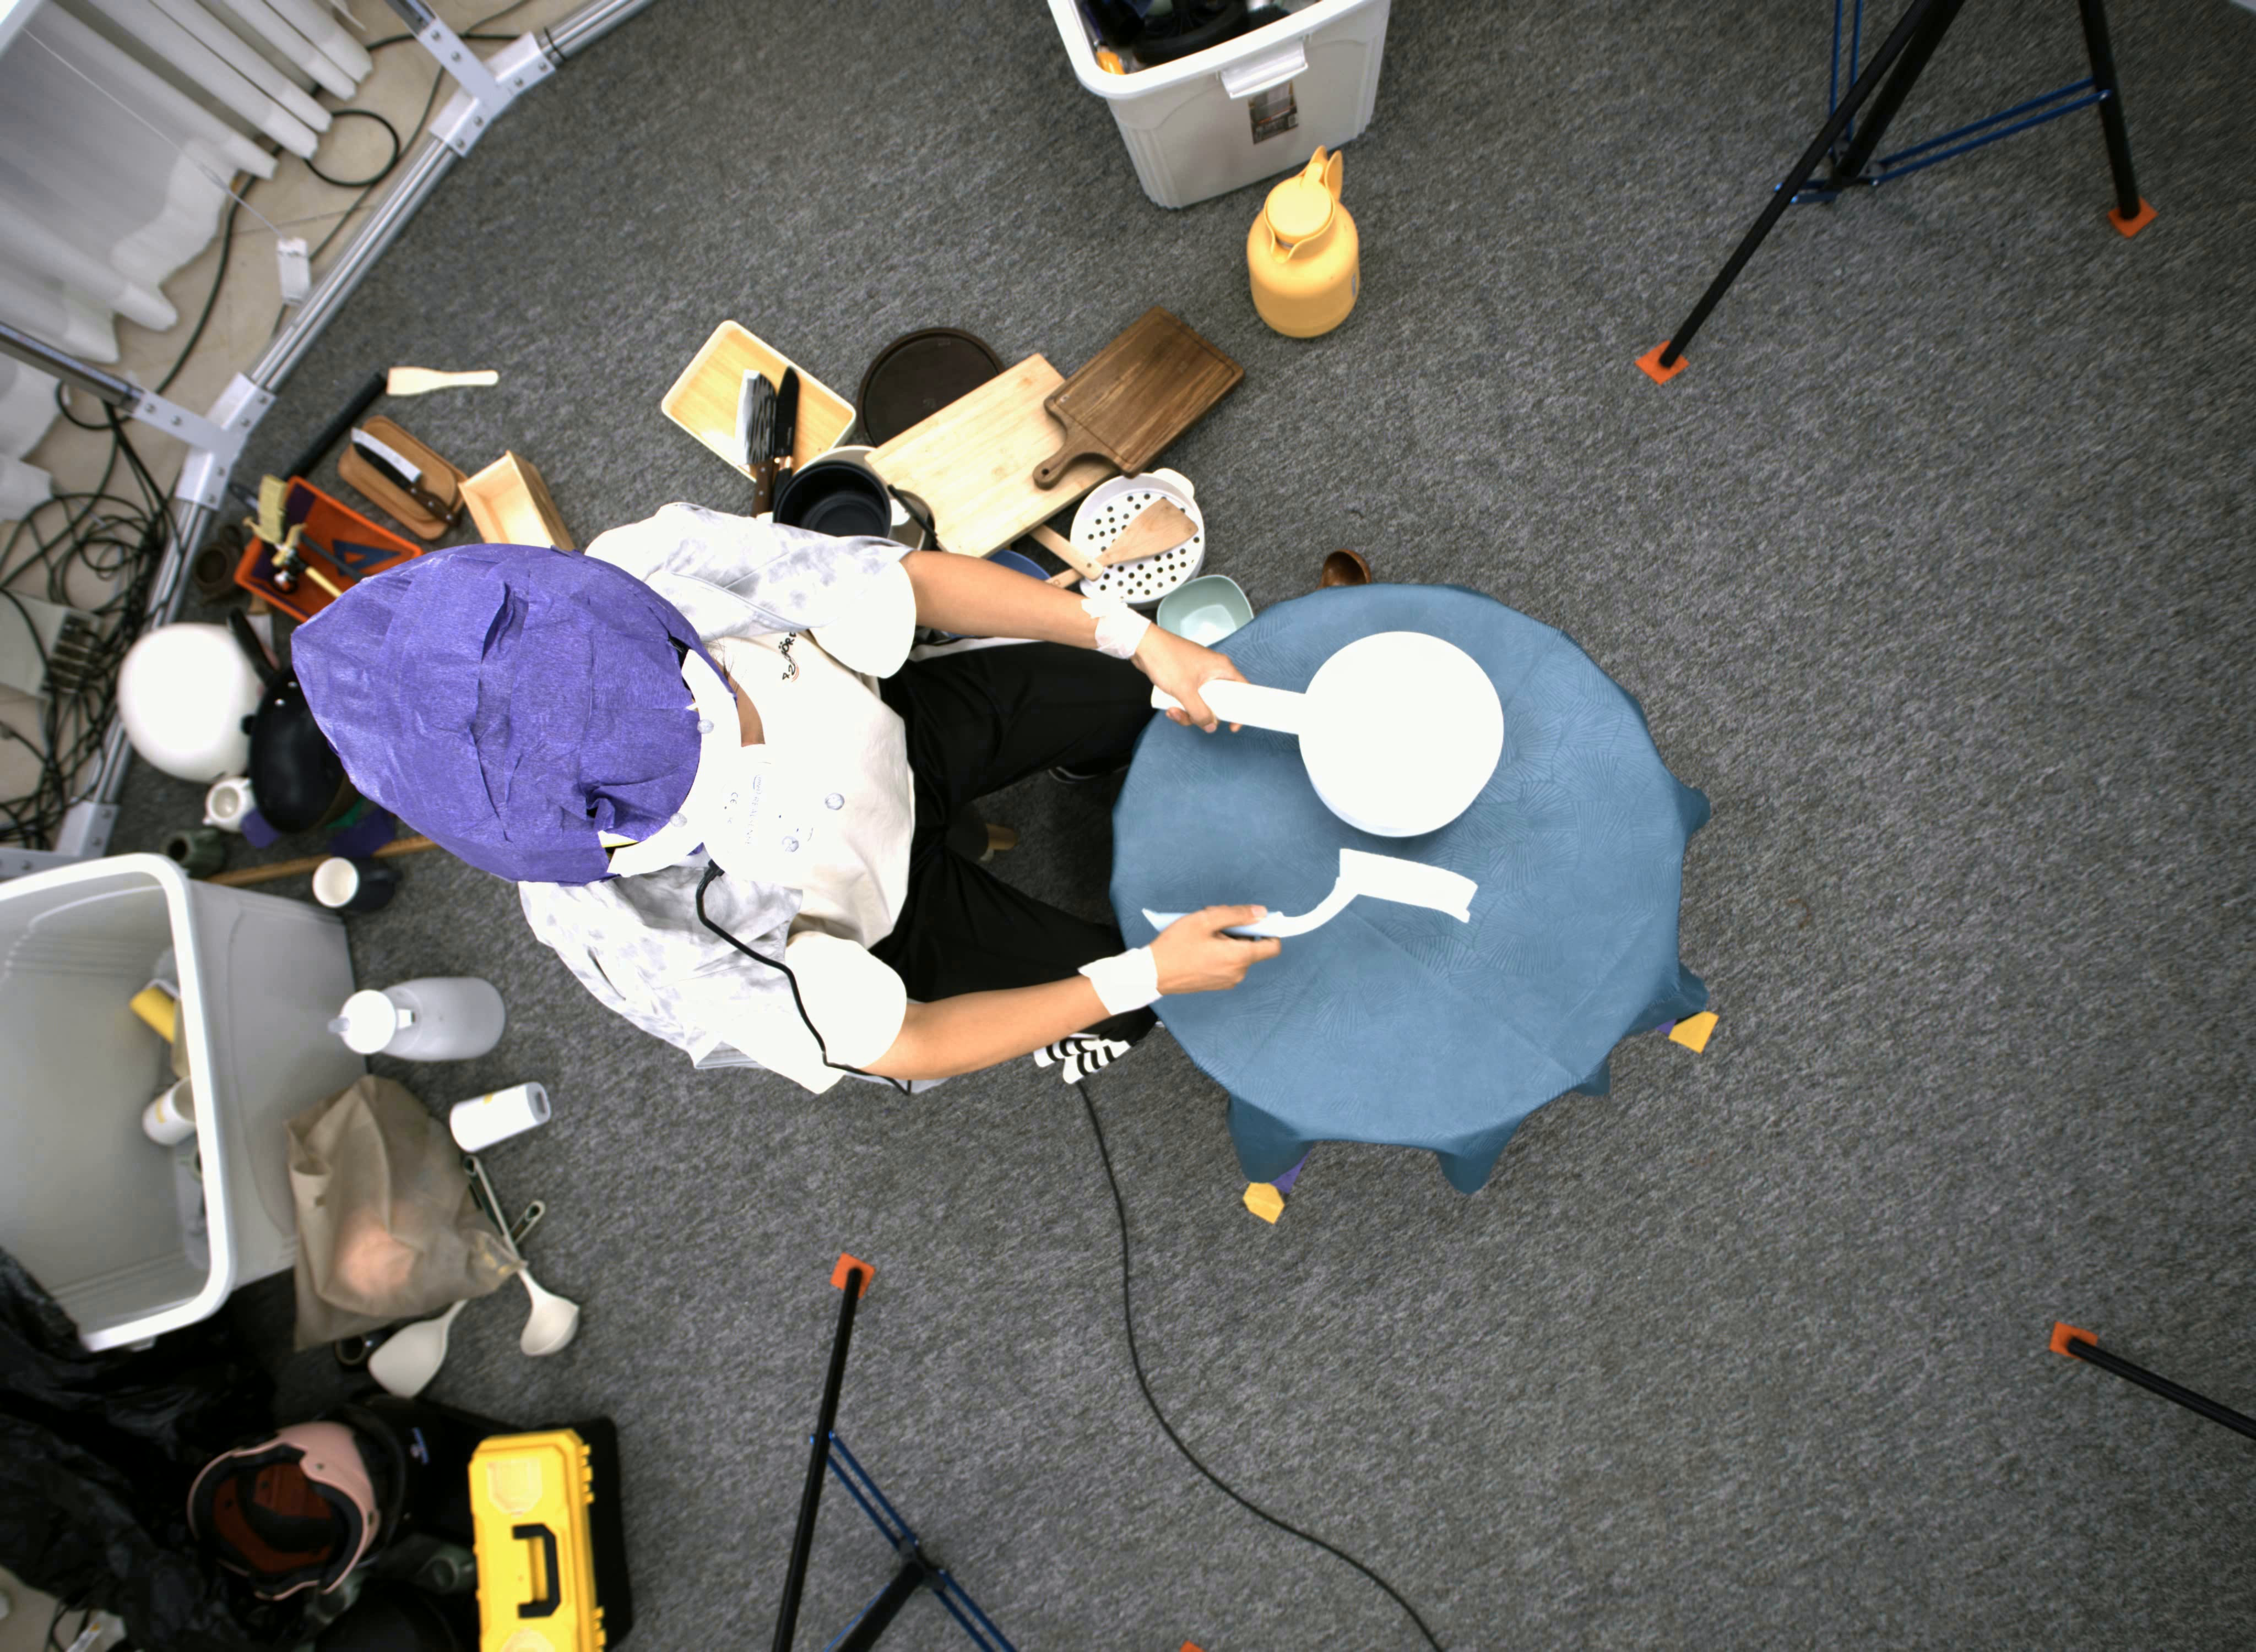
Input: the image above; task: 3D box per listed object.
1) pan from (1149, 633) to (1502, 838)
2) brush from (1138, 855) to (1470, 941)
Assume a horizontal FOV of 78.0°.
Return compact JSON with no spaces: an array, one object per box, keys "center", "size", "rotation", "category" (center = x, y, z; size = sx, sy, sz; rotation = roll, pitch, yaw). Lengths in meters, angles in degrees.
[{"center":[0.202,-0.103,1.425],"size":[0.355,0.102,0.200],"rotation":[11,83,12],"category":"pan"},{"center":[0.168,0.058,1.350],"size":[0.327,0.085,0.082],"rotation":[-1,51,13],"category":"brush"}]
